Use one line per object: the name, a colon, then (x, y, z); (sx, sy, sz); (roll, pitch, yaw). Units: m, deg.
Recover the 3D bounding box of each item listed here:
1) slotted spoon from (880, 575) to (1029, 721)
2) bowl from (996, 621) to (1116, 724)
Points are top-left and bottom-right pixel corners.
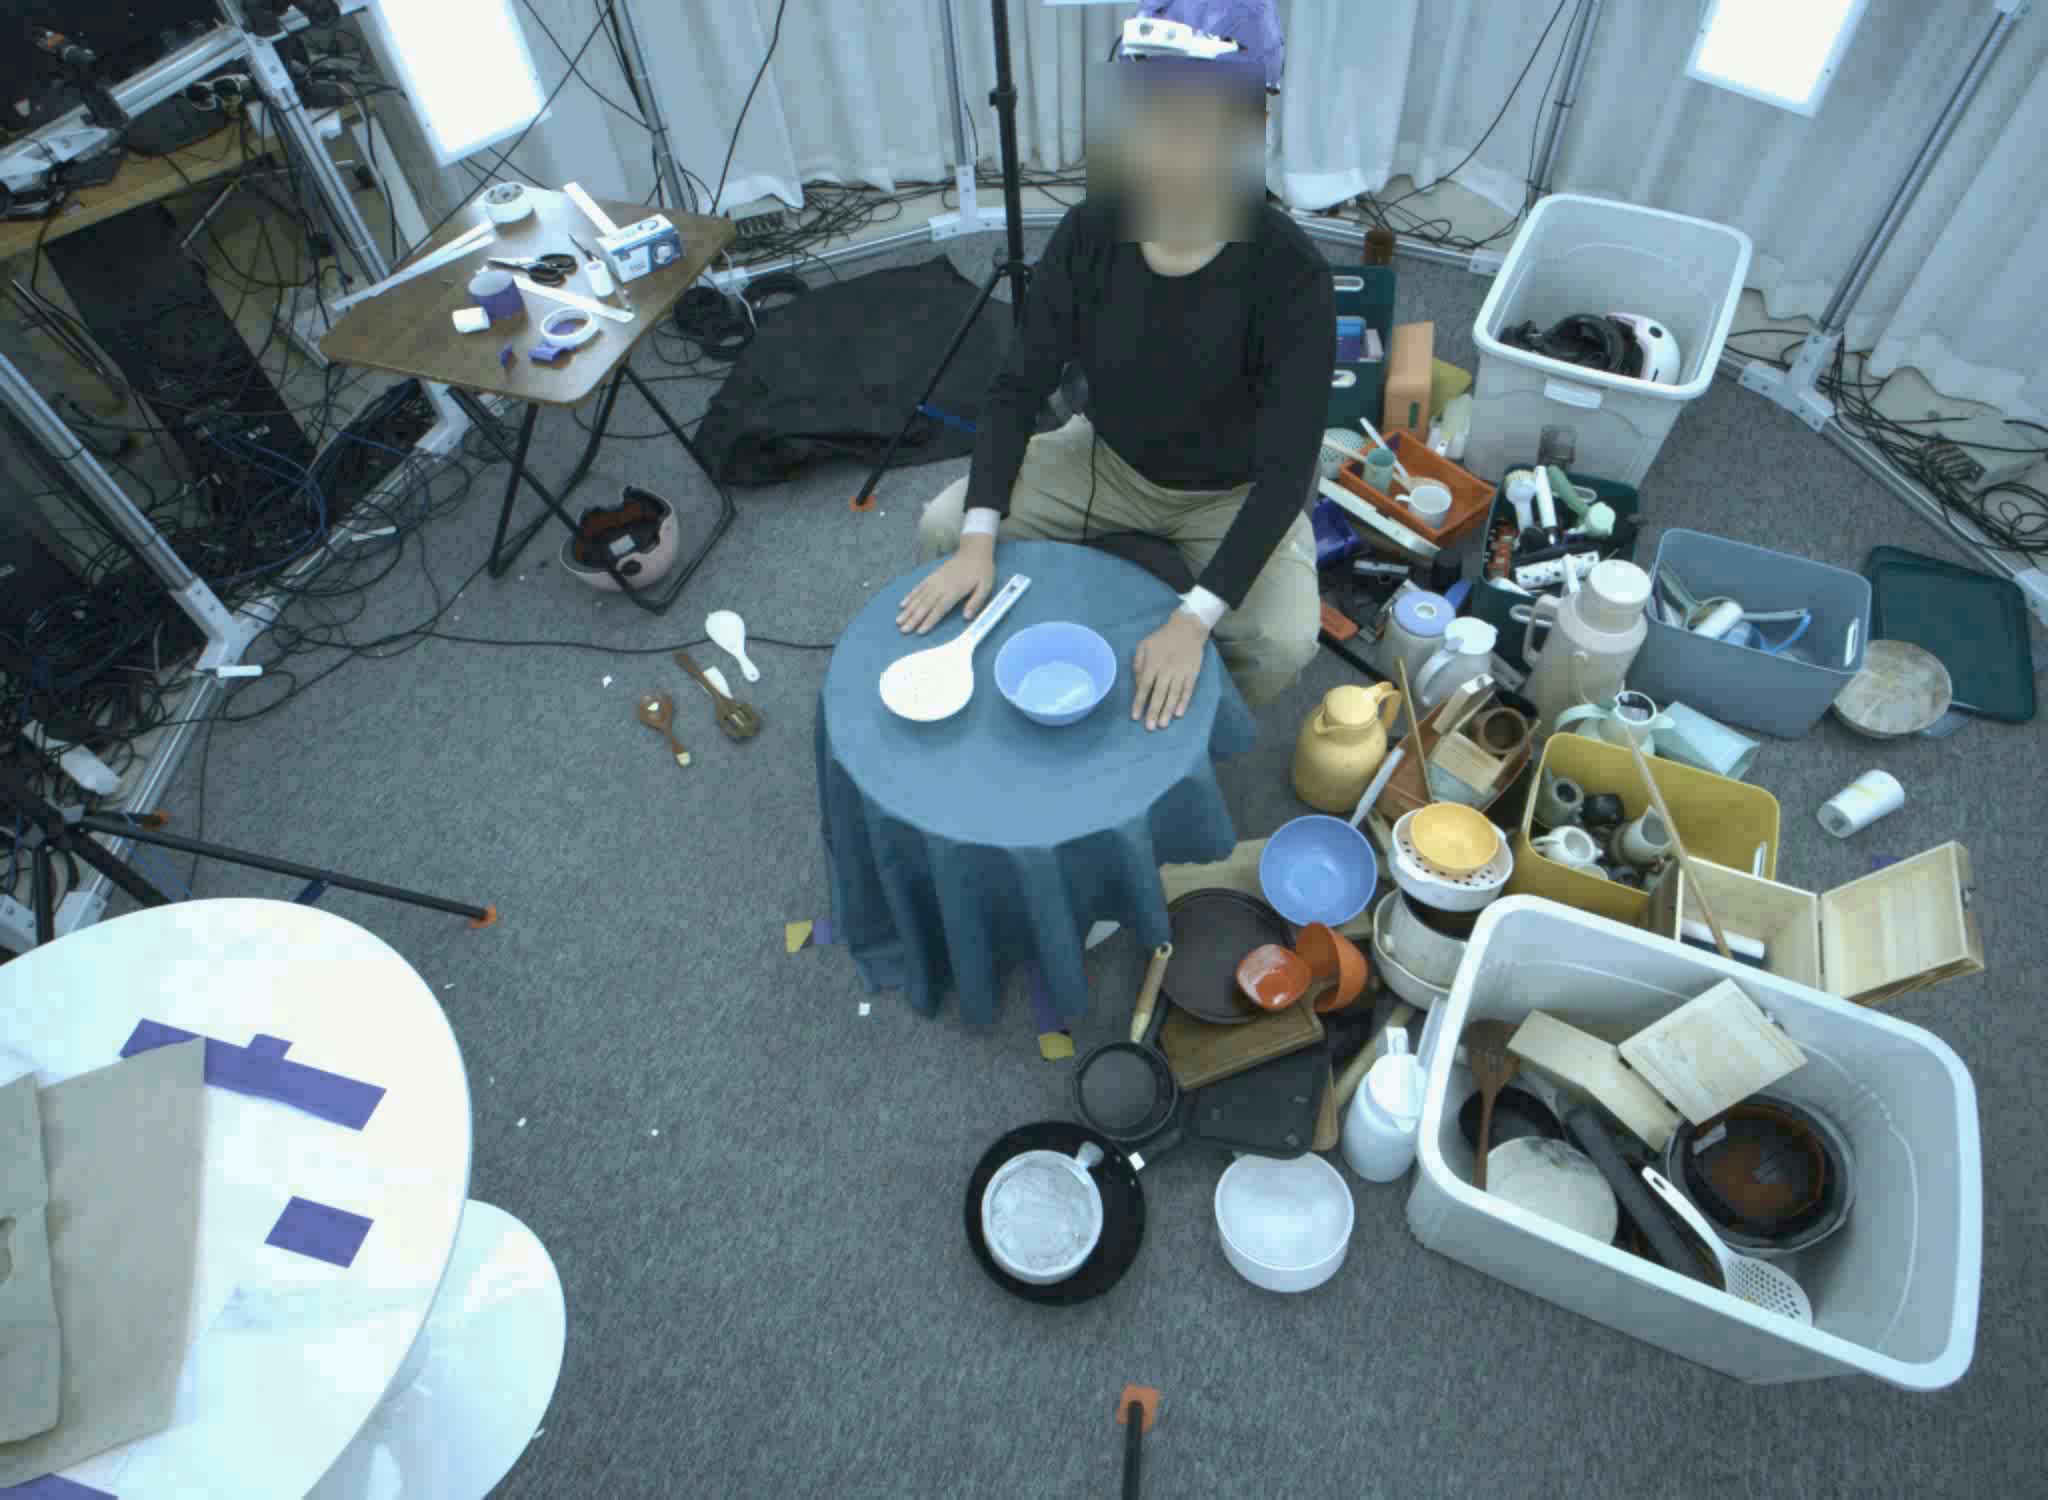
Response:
slotted spoon: (-0.090, -0.162, 1.877); (0.134, 0.046, 0.351); (24, 58, 18)
bowl: (0.048, -0.103, 1.815); (0.176, 0.071, 0.174); (0, 54, 1)
